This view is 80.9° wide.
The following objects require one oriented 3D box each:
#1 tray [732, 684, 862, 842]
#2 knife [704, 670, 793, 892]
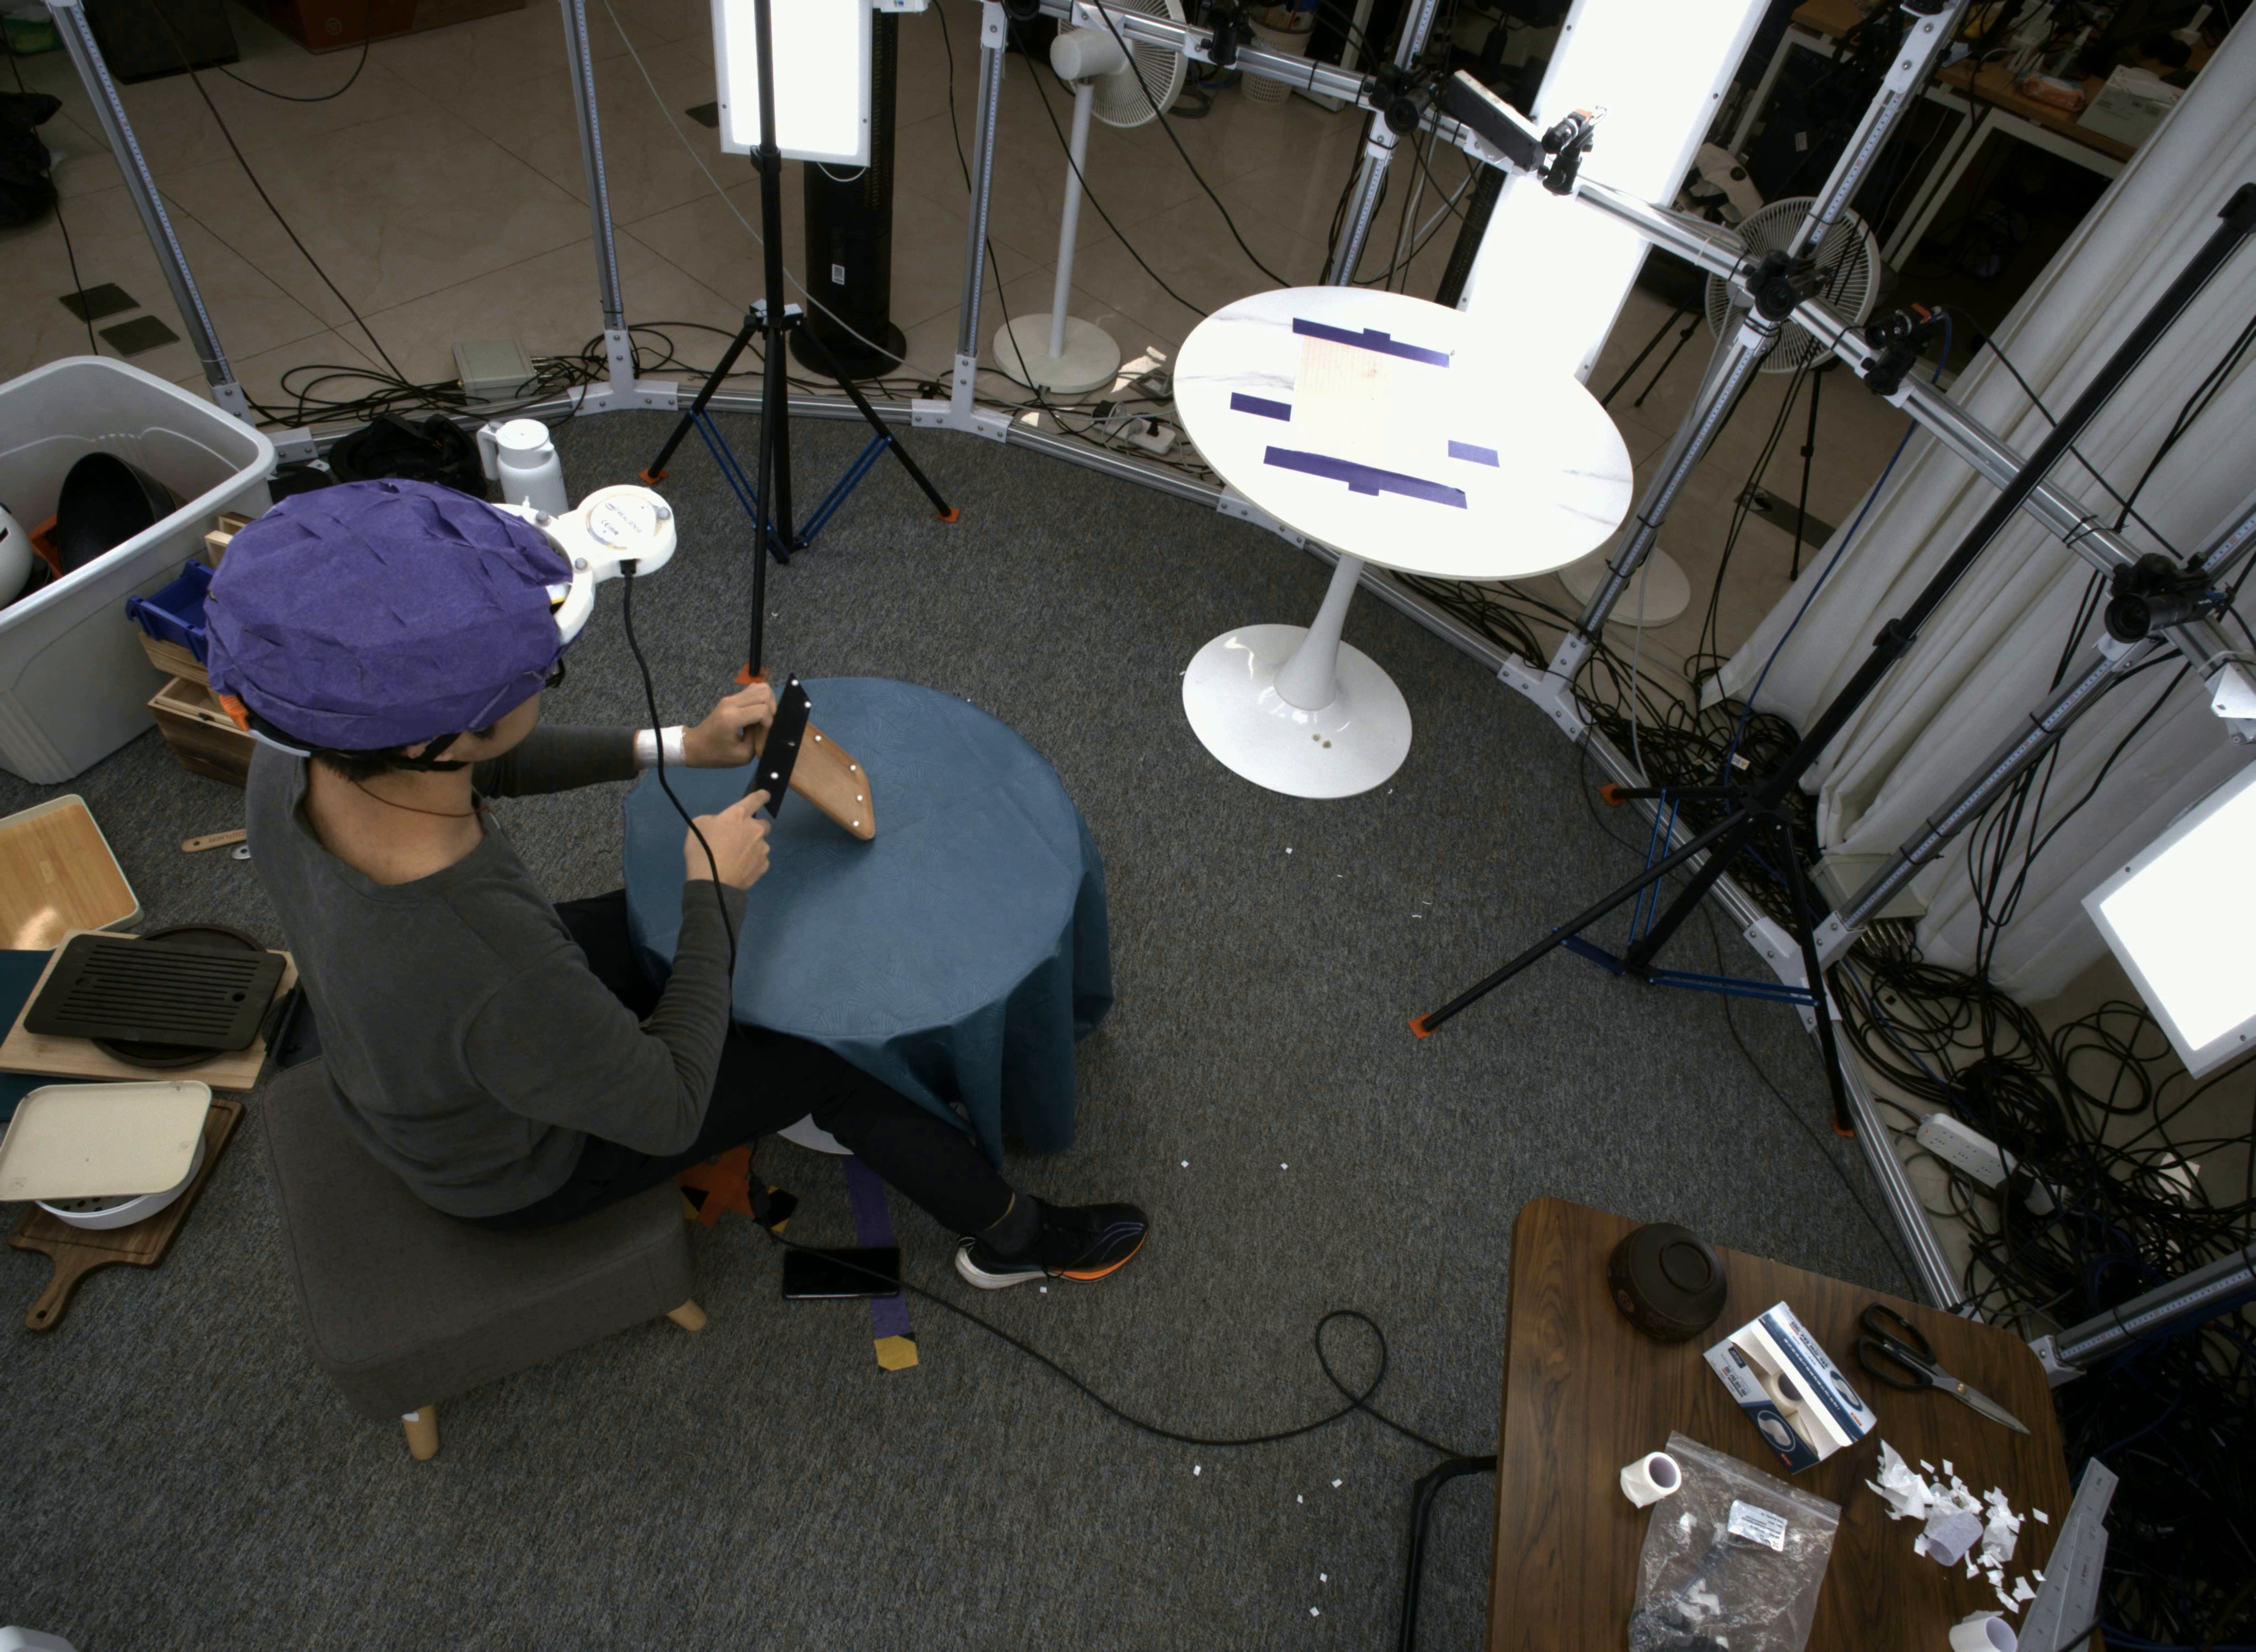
[{"bbox_3d":[-0.421,-0.076,1.654,0.022,0.259,0.127,-25,58,13],"label":"tray"},{"bbox_3d":[-0.441,-0.053,1.512,0.020,0.084,0.297,-4,51,15],"label":"knife"}]
